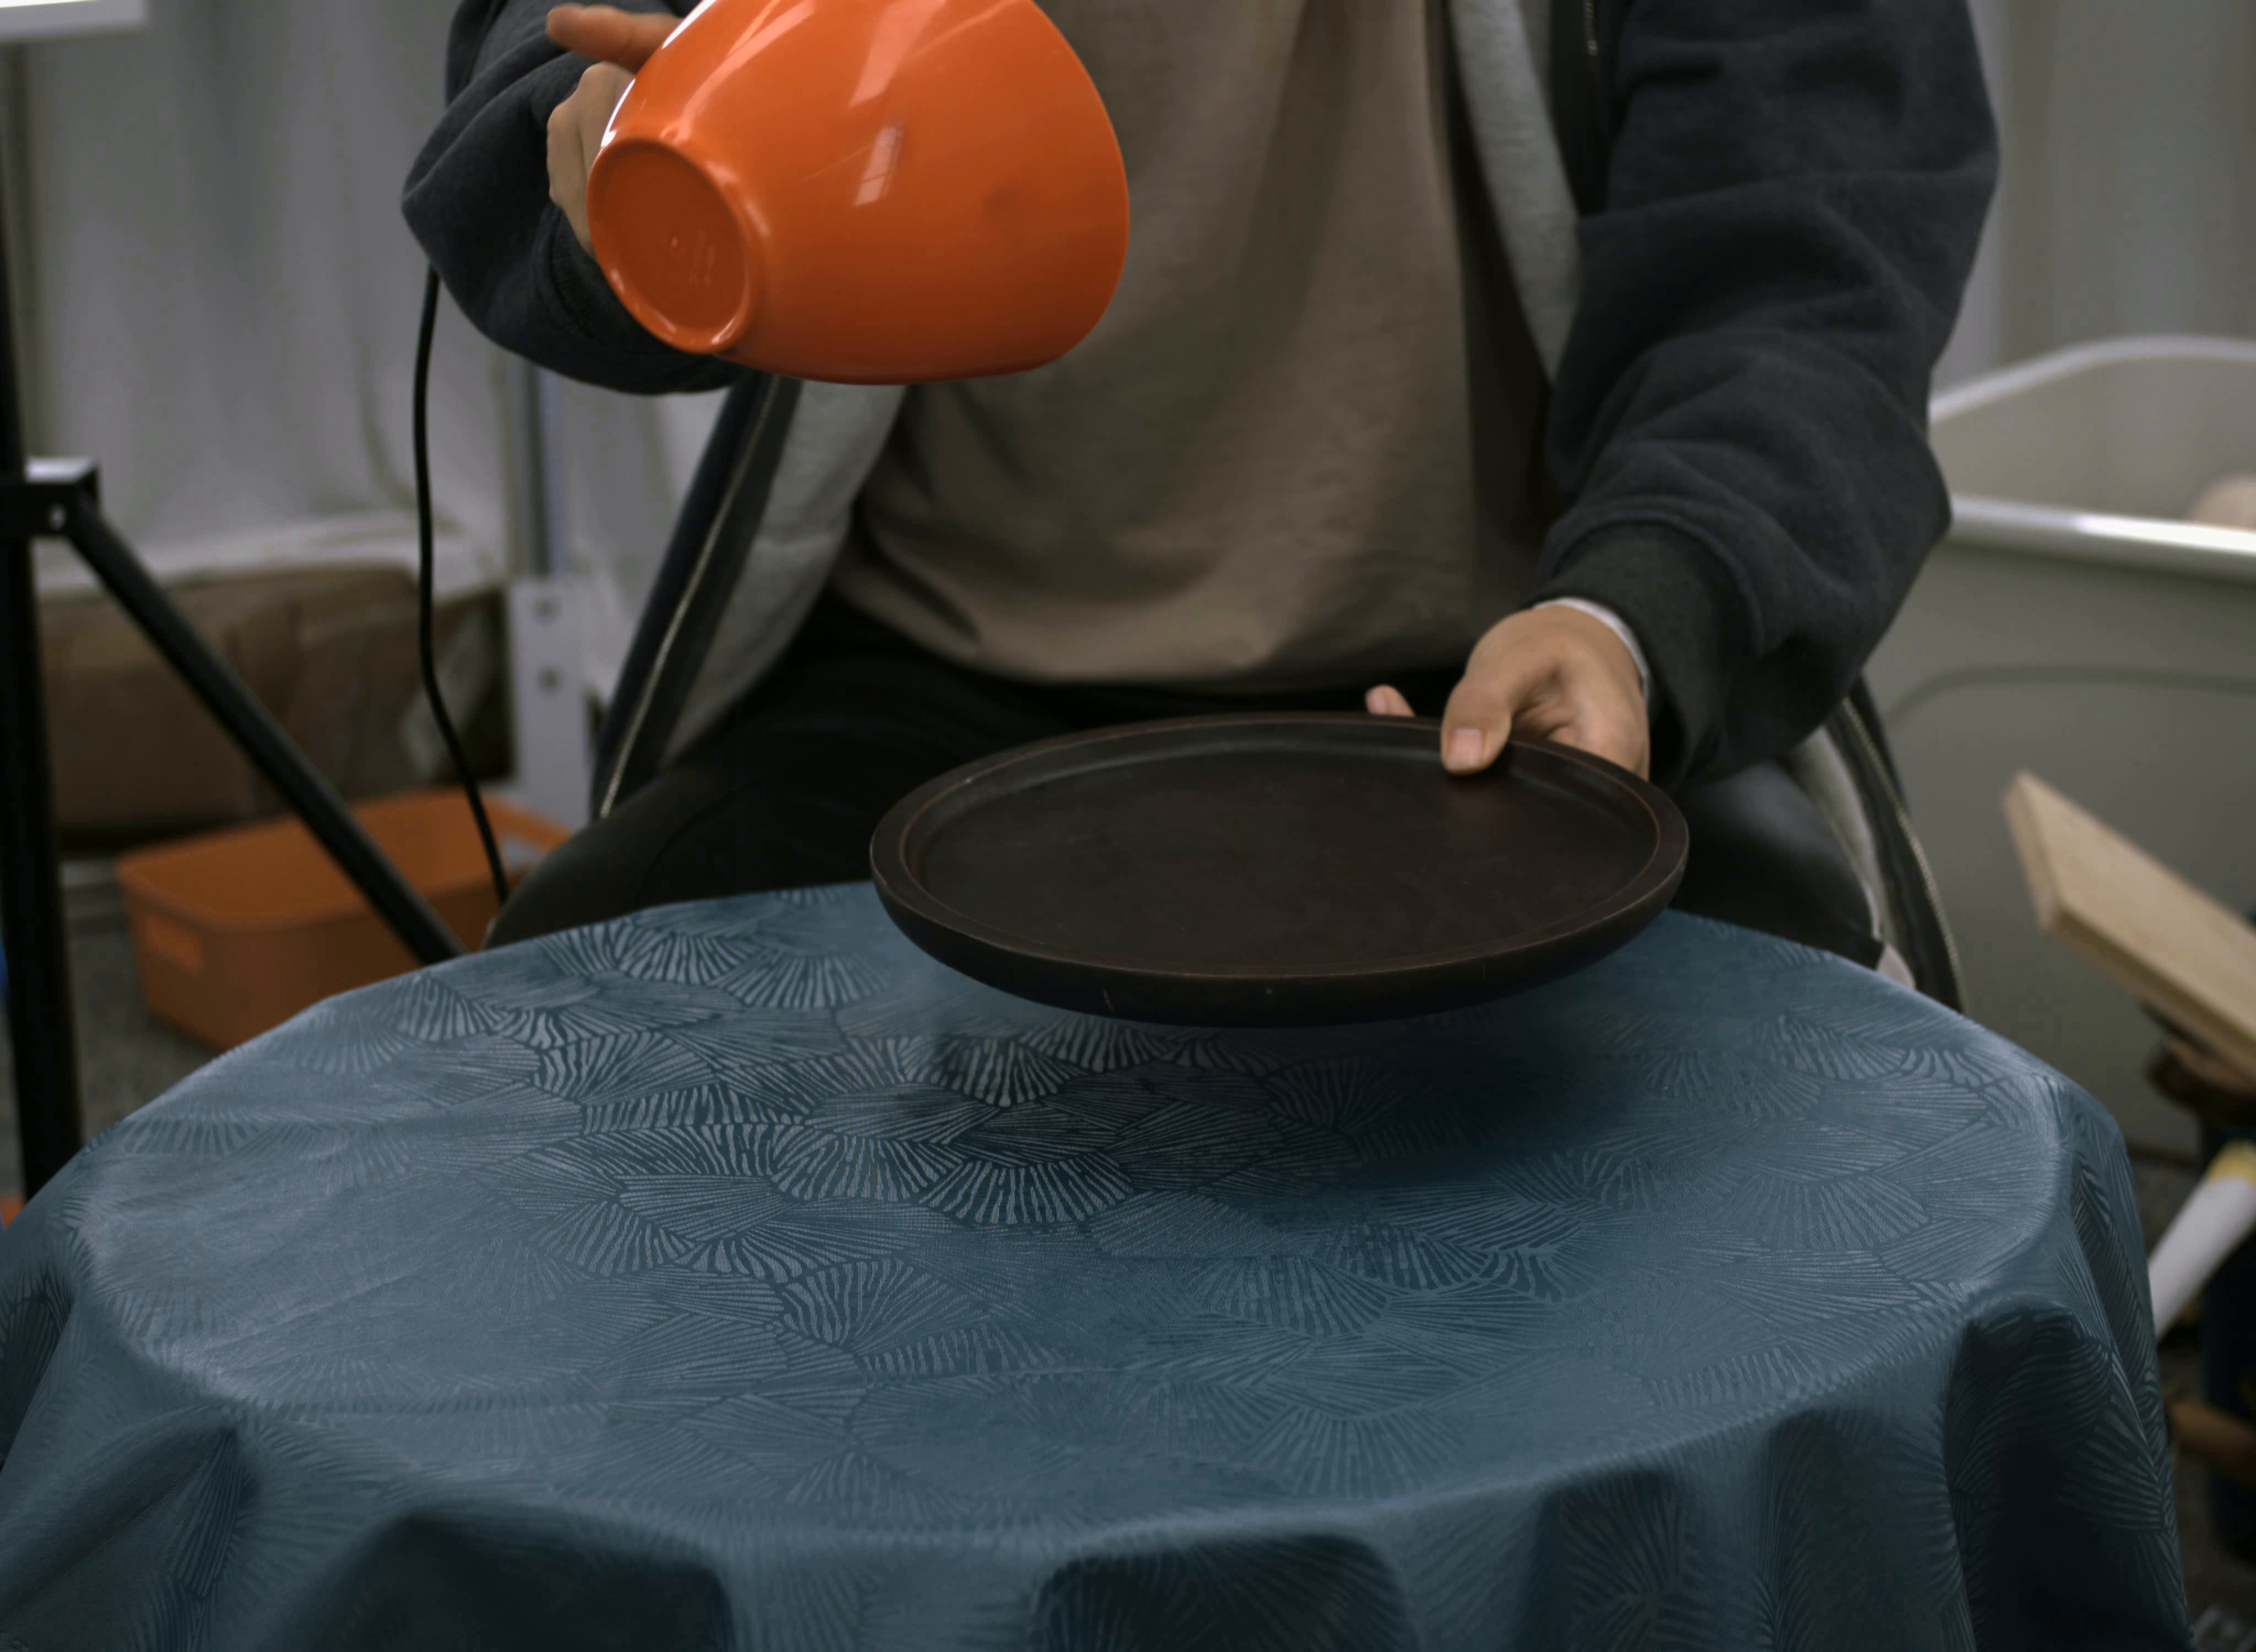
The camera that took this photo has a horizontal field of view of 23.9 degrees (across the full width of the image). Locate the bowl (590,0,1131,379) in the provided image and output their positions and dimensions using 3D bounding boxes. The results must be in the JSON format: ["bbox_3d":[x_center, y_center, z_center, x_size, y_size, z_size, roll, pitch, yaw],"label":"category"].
[{"bbox_3d":[-0.088,-0.183,1.544,0.151,0.147,0.103,13,33,42],"label":"bowl"}]

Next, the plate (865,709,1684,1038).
[{"bbox_3d":[0.045,0.012,1.639,0.253,0.029,0.256,-4,18,0],"label":"plate"}]
